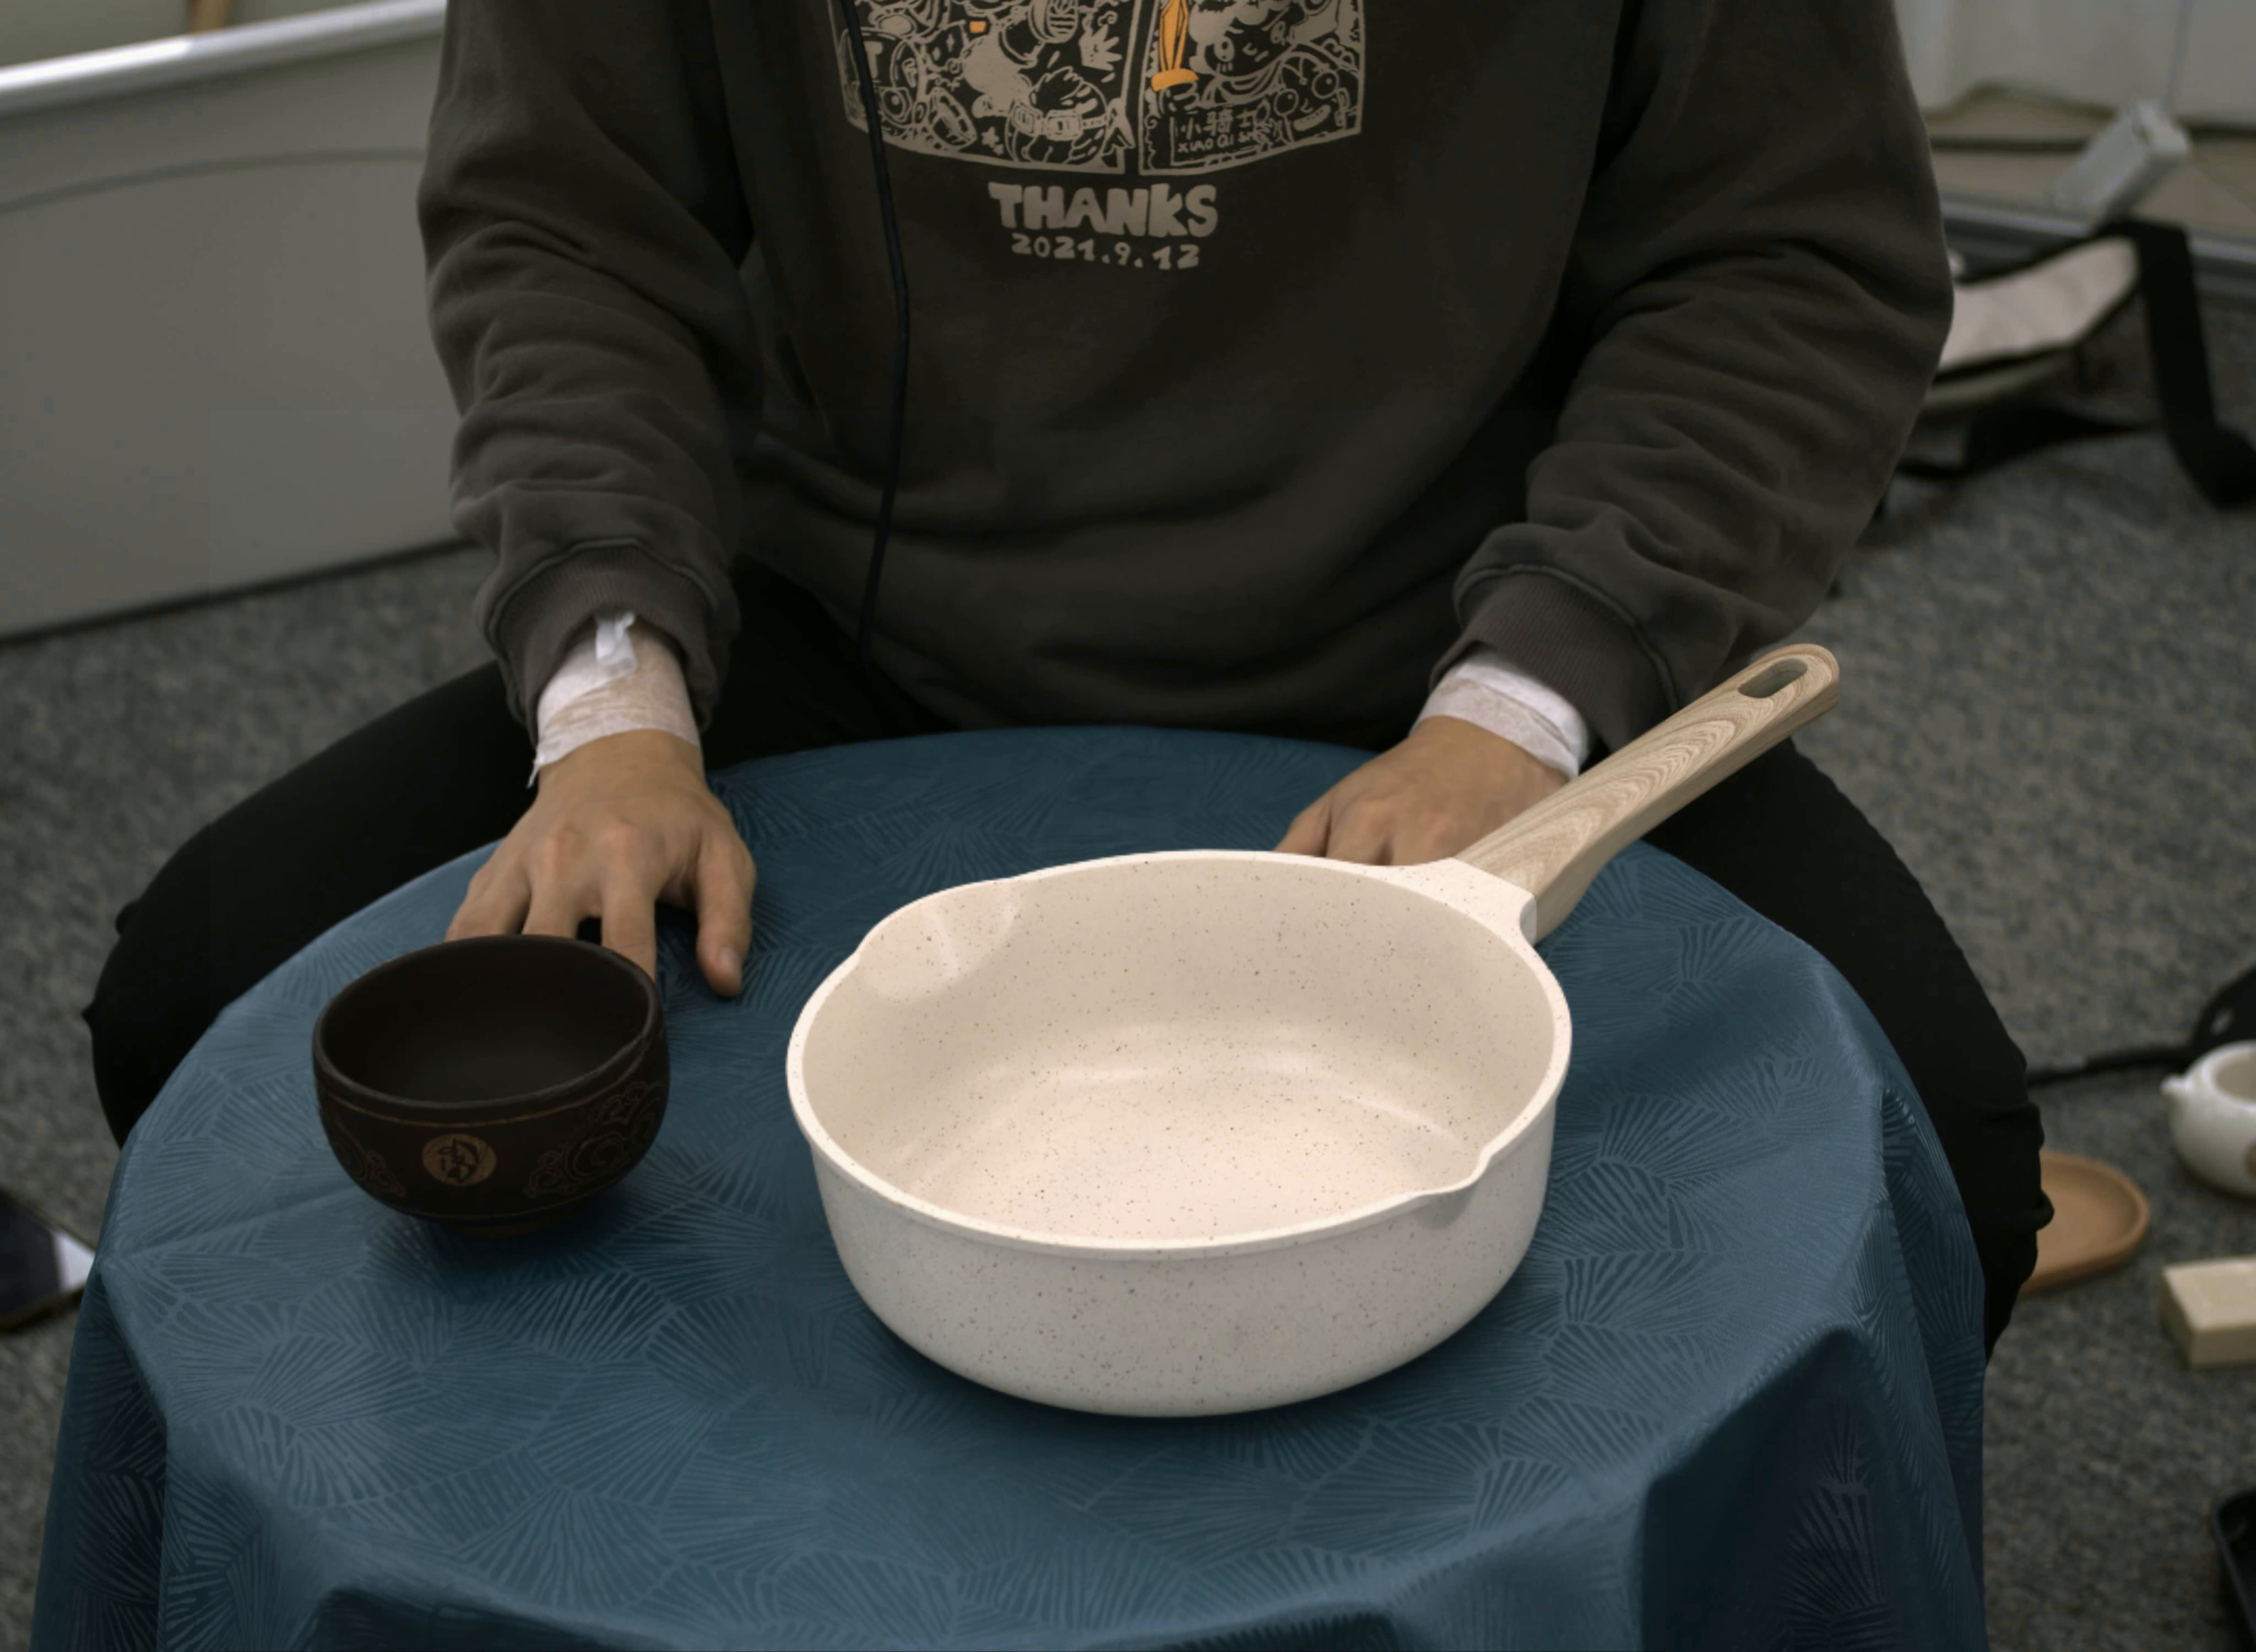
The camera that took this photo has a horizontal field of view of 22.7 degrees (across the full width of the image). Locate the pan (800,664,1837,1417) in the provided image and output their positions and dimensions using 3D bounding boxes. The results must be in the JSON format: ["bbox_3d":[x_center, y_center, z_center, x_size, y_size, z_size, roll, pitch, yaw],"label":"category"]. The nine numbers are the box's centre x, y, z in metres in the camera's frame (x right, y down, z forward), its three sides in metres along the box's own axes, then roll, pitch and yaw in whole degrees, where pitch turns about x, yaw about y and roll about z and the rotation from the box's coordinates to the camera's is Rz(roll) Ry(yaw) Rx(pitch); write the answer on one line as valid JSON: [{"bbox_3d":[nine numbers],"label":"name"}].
[{"bbox_3d":[0.089,0.065,1.856,0.440,0.101,0.263,-25,33,-37],"label":"pan"}]

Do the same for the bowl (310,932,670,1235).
[{"bbox_3d":[-0.209,0.092,1.861,0.117,0.069,0.120,-3,26,2],"label":"bowl"}]
